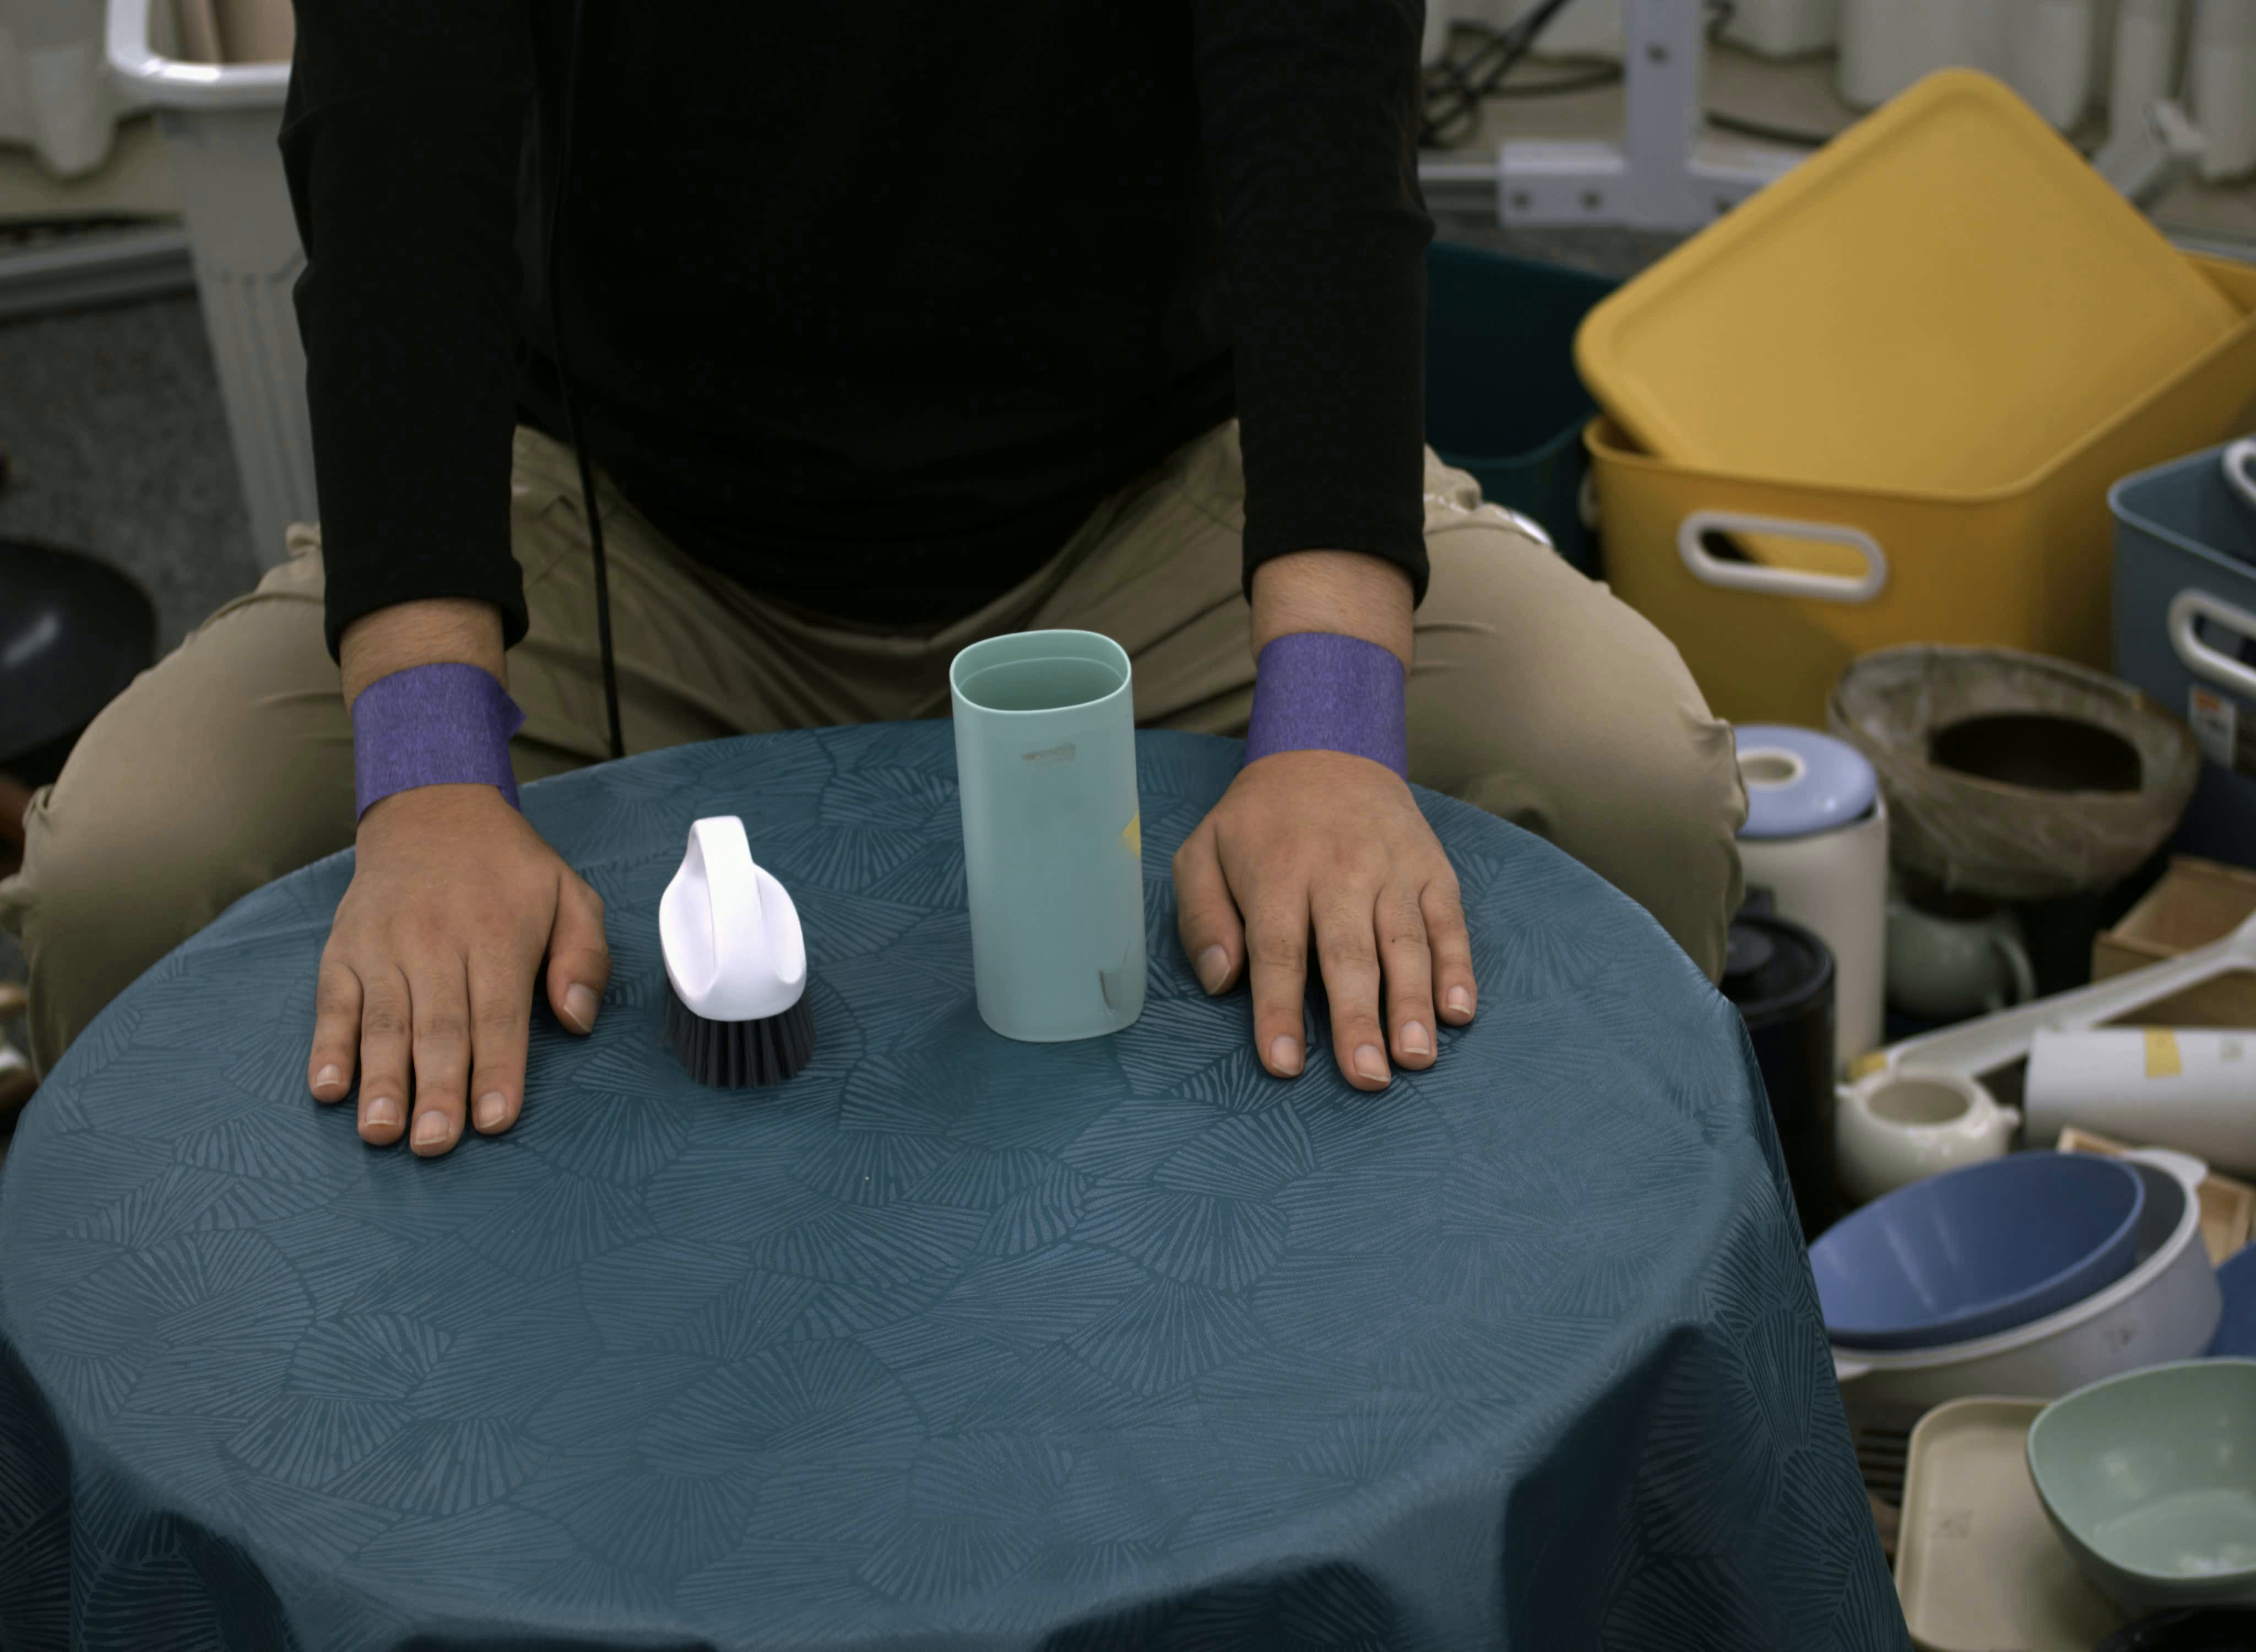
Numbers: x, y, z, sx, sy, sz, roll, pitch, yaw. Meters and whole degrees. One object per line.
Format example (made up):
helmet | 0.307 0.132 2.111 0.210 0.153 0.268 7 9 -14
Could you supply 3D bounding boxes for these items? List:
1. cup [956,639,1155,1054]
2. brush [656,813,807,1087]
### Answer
cup | -0.026 0.007 1.953 0.066 0.131 0.068 -3 27 2
brush | -0.140 0.037 1.960 0.050 0.072 0.100 -5 28 -6
